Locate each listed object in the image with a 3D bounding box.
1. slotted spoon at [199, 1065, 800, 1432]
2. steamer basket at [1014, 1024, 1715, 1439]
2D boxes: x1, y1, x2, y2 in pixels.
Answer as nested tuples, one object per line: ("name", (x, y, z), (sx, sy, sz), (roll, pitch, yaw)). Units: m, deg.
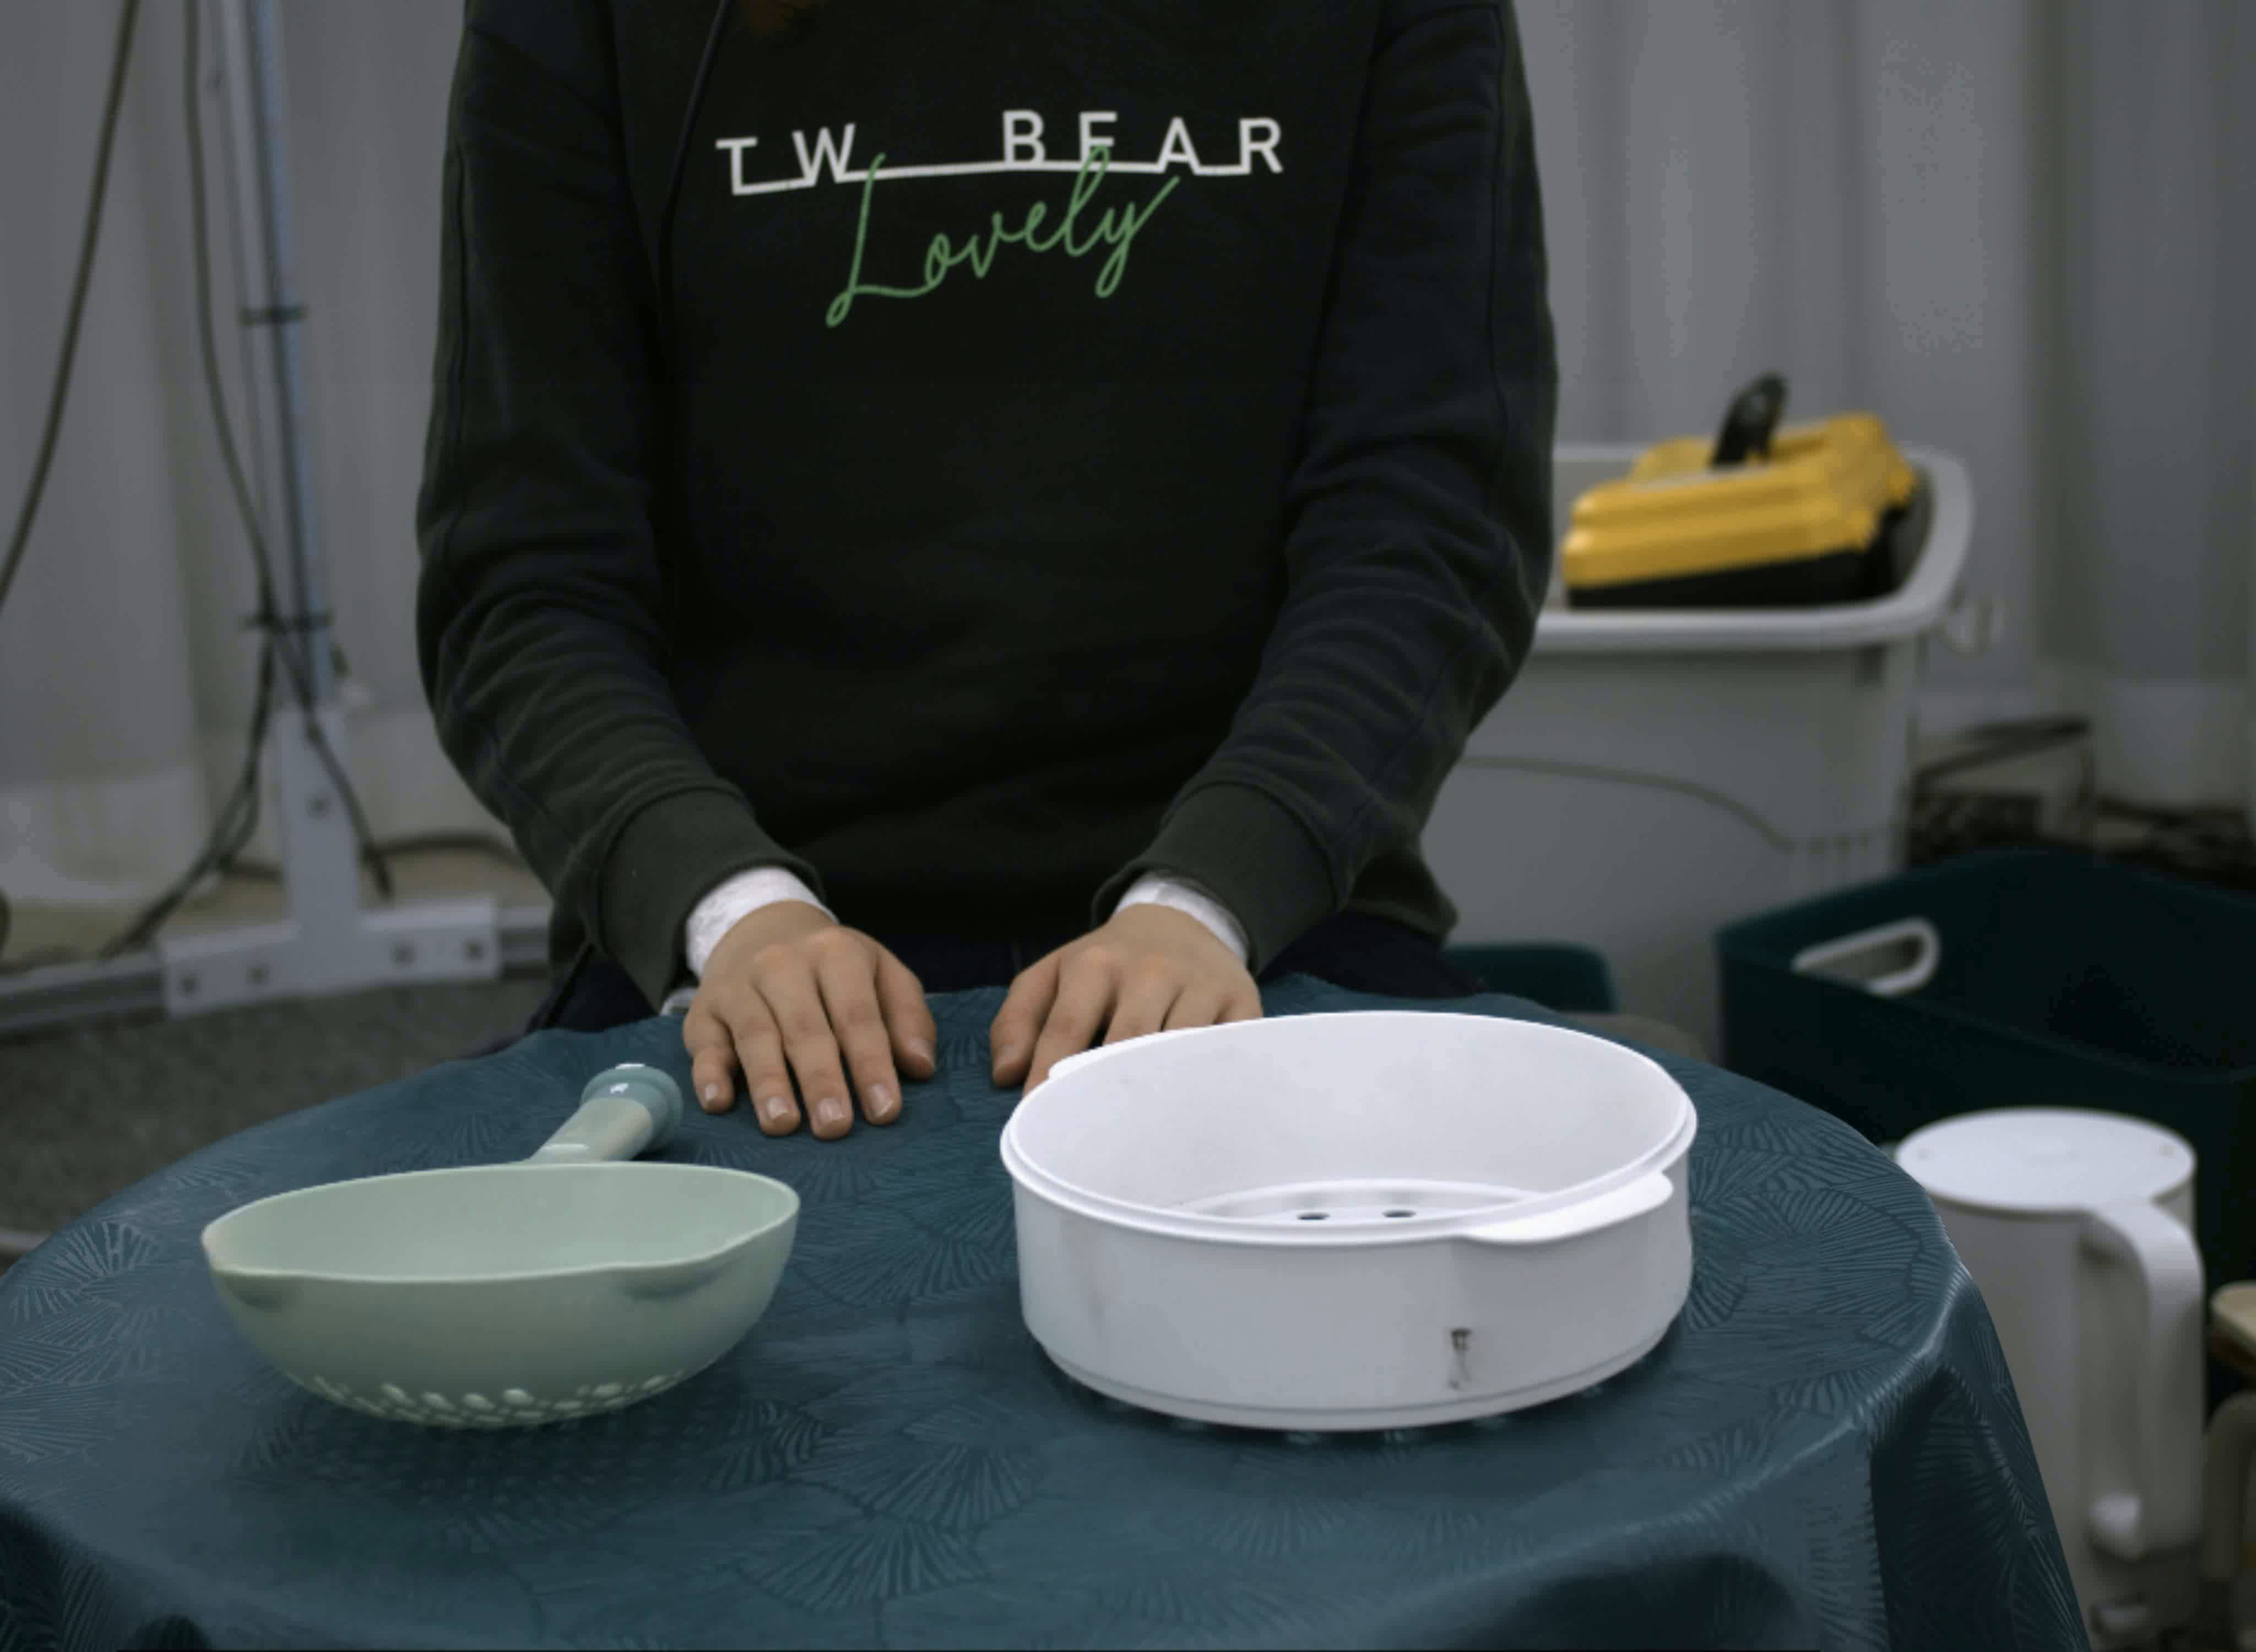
("slotted spoon", (-0.169, 0.110, 1.638), (0.169, 0.075, 0.361), (-1, 15, 4))
("steamer basket", (0.068, 0.116, 1.571), (0.201, 0.069, 0.232), (-13, 18, -35))
